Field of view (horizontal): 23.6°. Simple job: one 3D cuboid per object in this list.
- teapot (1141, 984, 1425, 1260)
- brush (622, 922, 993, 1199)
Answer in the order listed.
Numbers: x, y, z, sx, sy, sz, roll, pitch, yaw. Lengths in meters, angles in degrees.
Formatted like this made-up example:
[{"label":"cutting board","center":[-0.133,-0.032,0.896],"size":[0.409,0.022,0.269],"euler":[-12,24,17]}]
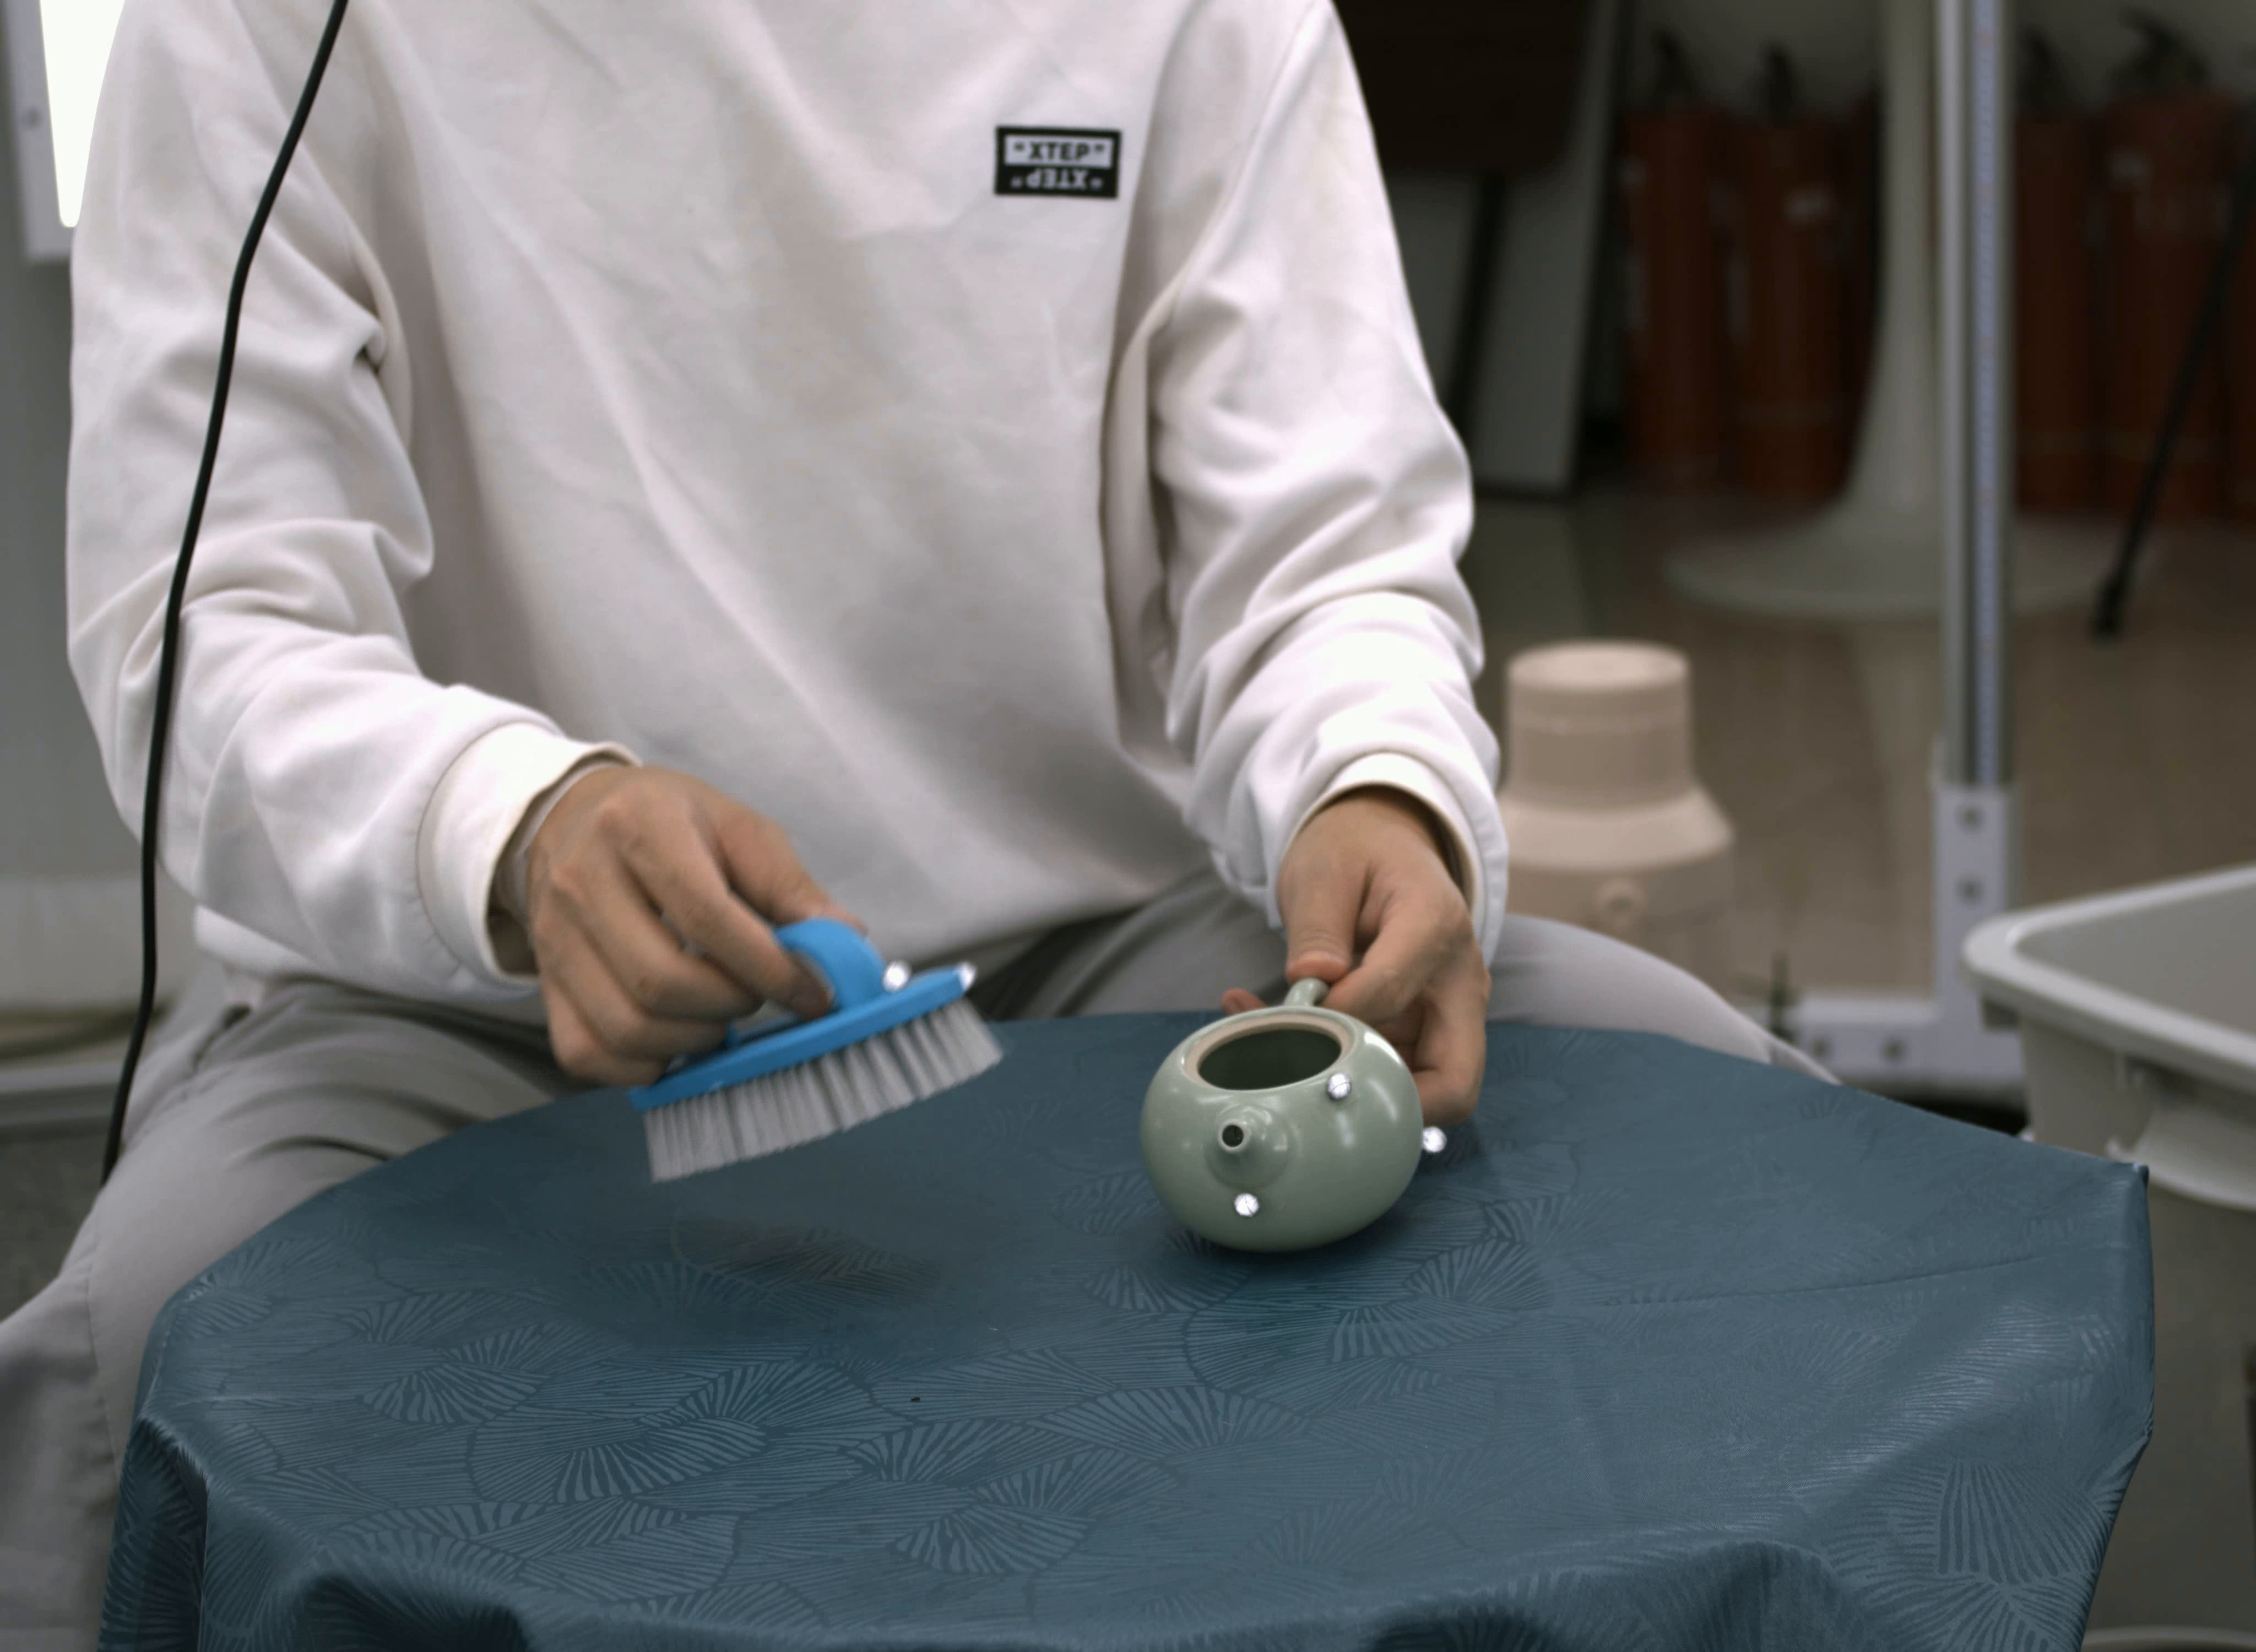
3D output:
[{"label":"teapot","center":[0.053,0.095,1.721],"size":[0.091,0.061,0.127],"euler":[-4,21,23]},{"label":"brush","center":[-0.108,0.068,1.703],"size":[0.083,0.064,0.143],"euler":[-28,4,-40]}]
